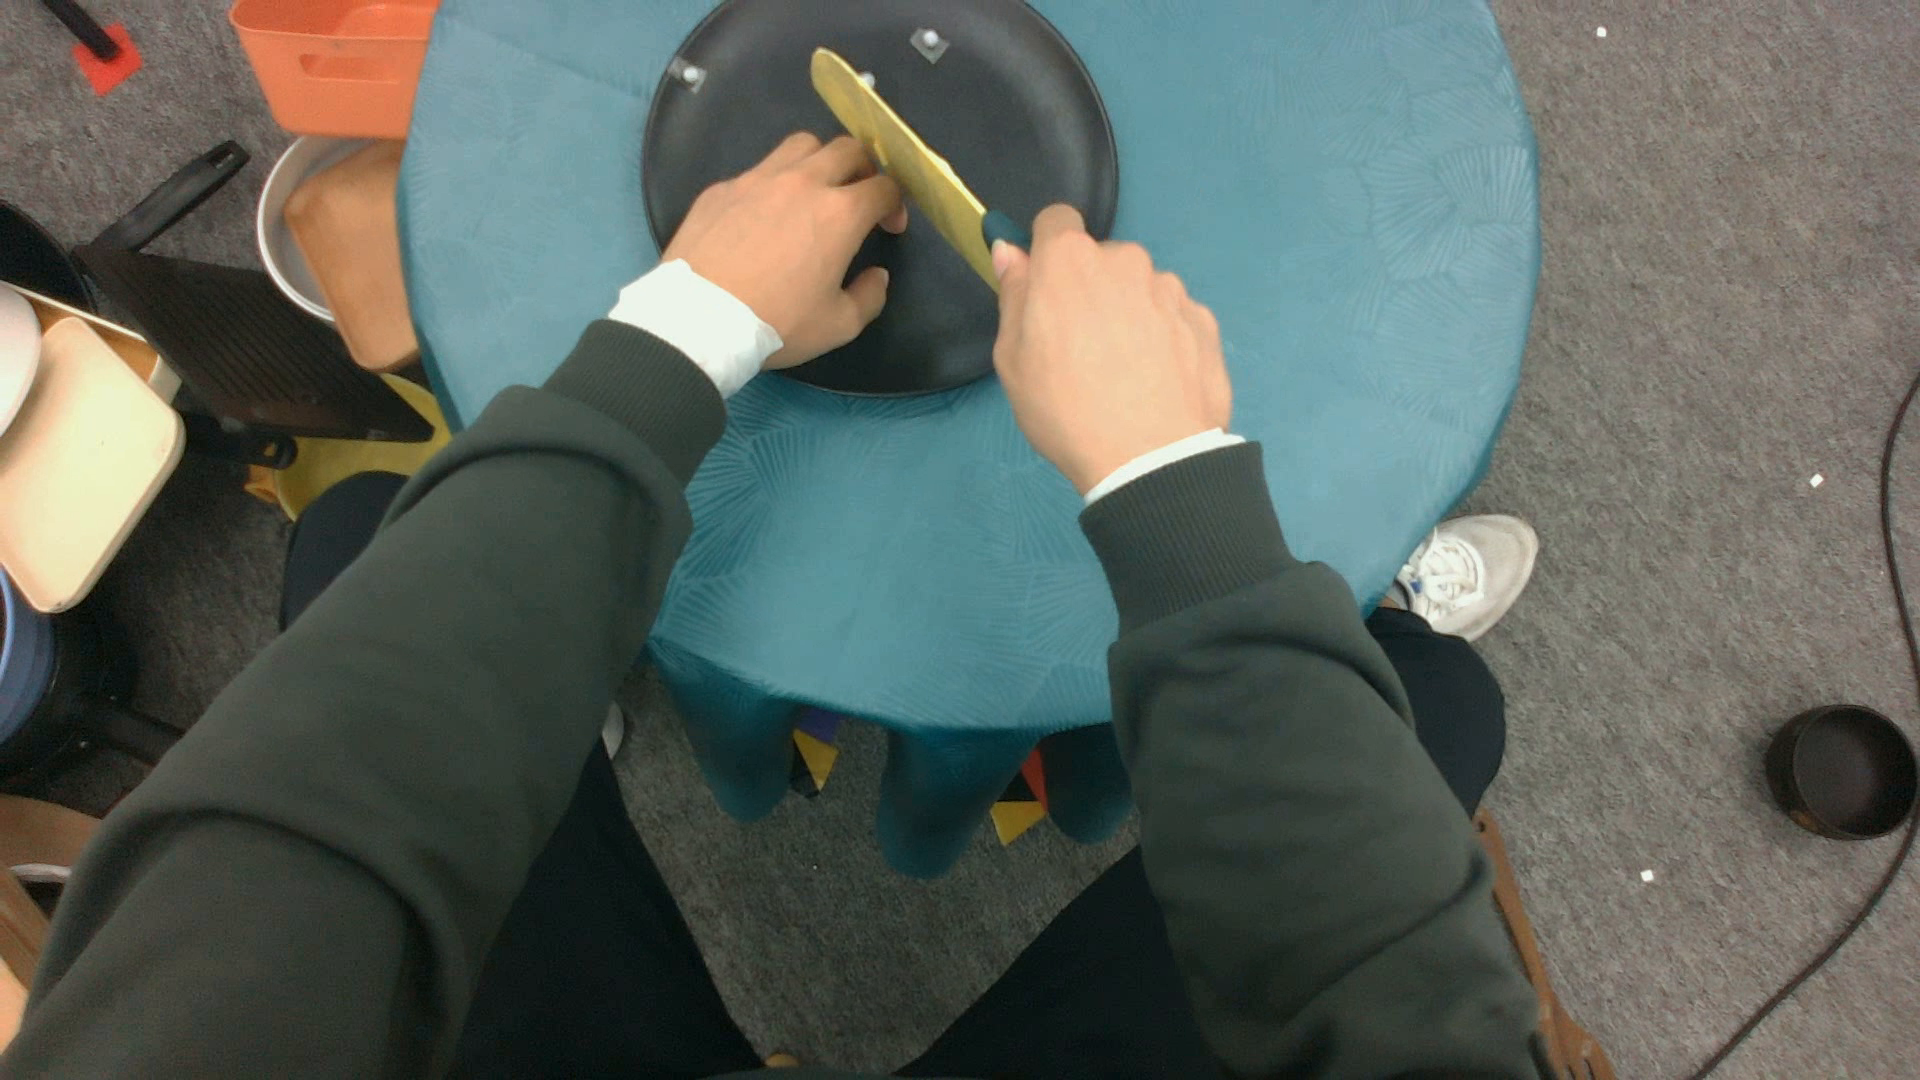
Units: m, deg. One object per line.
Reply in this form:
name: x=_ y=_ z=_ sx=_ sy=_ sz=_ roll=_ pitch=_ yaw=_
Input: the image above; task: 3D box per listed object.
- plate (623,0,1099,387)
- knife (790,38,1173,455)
plate: x=-0.049 y=-0.193 z=0.713 sx=0.244 sy=0.023 sz=0.245 roll=1 pitch=77 yaw=-5
knife: x=-0.001 y=-0.137 z=0.622 sx=0.027 sy=0.081 sz=0.290 roll=-37 pitch=65 yaw=-4
